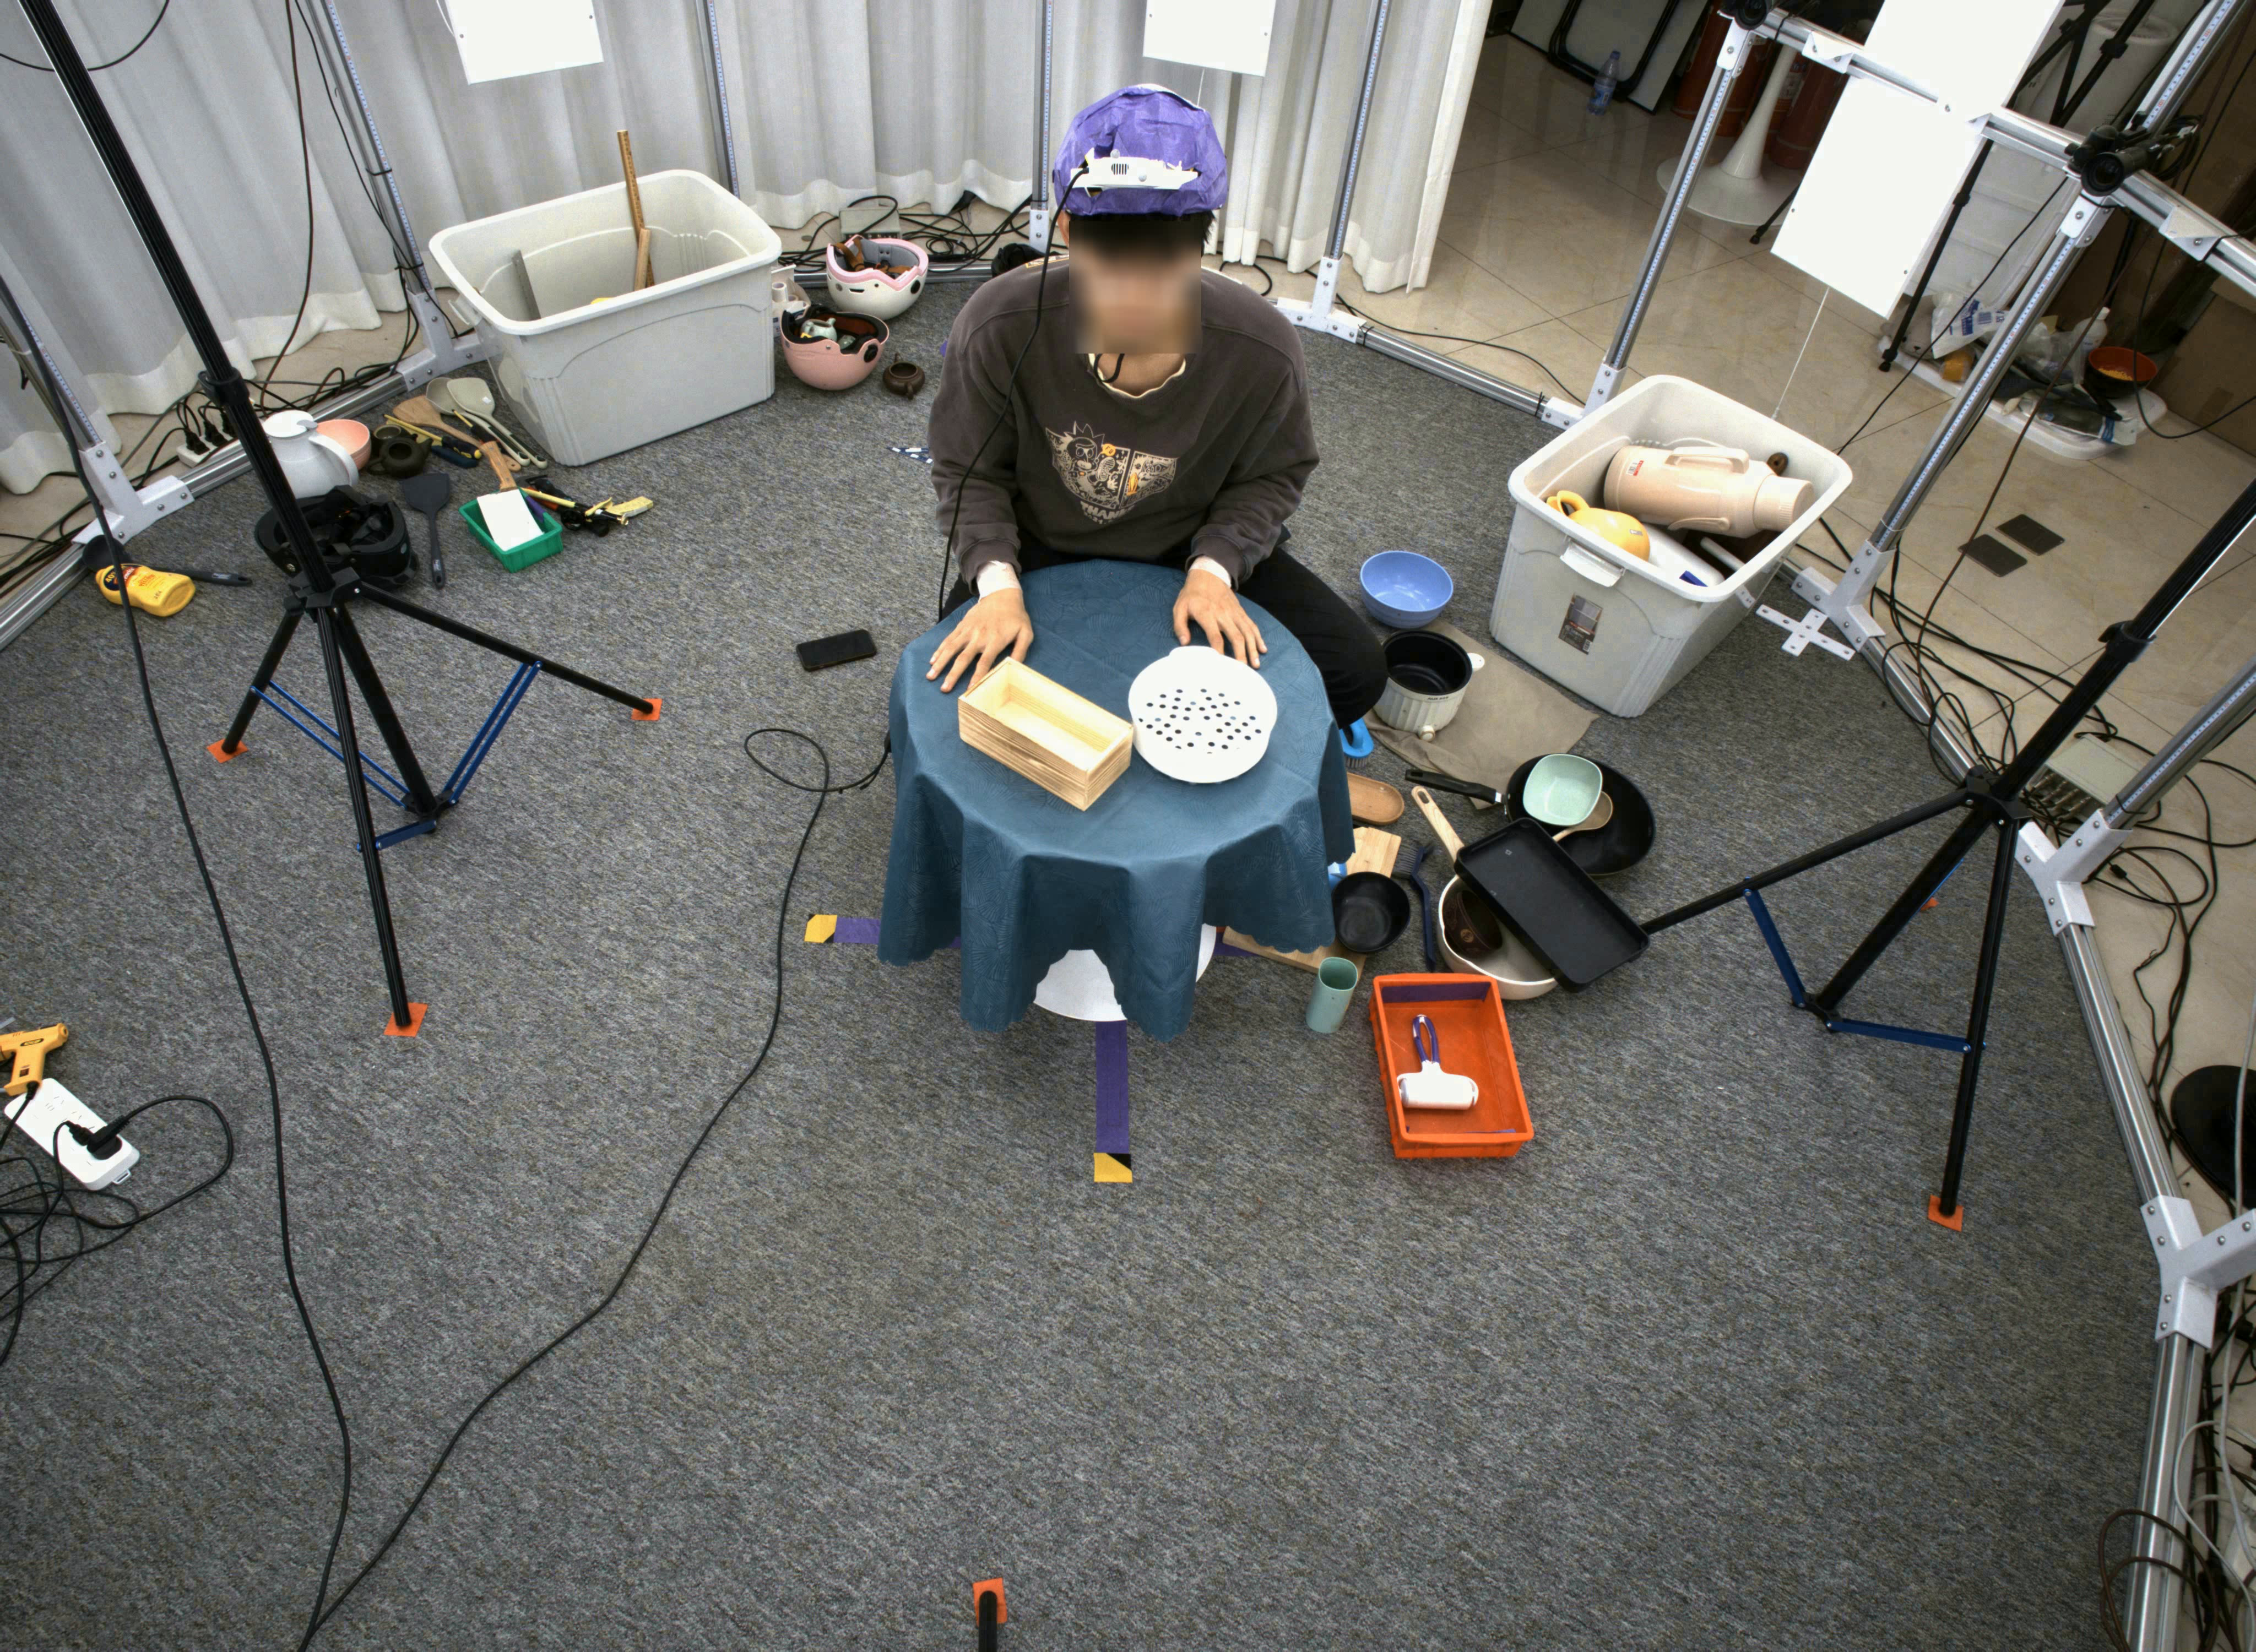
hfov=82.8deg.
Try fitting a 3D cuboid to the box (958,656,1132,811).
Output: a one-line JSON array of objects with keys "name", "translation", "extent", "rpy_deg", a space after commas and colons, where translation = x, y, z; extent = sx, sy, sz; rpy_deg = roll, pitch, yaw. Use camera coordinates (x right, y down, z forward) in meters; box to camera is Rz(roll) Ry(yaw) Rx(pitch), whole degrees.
[{"name": "box", "translation": [-0.112, -0.126, 1.716], "extent": [0.214, 0.078, 0.109], "rpy_deg": [30, 53, 21]}]

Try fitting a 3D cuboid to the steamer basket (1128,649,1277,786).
[{"name": "steamer basket", "translation": [0.100, -0.144, 1.753], "extent": [0.201, 0.067, 0.236], "rpy_deg": [-1, 48, -5]}]
